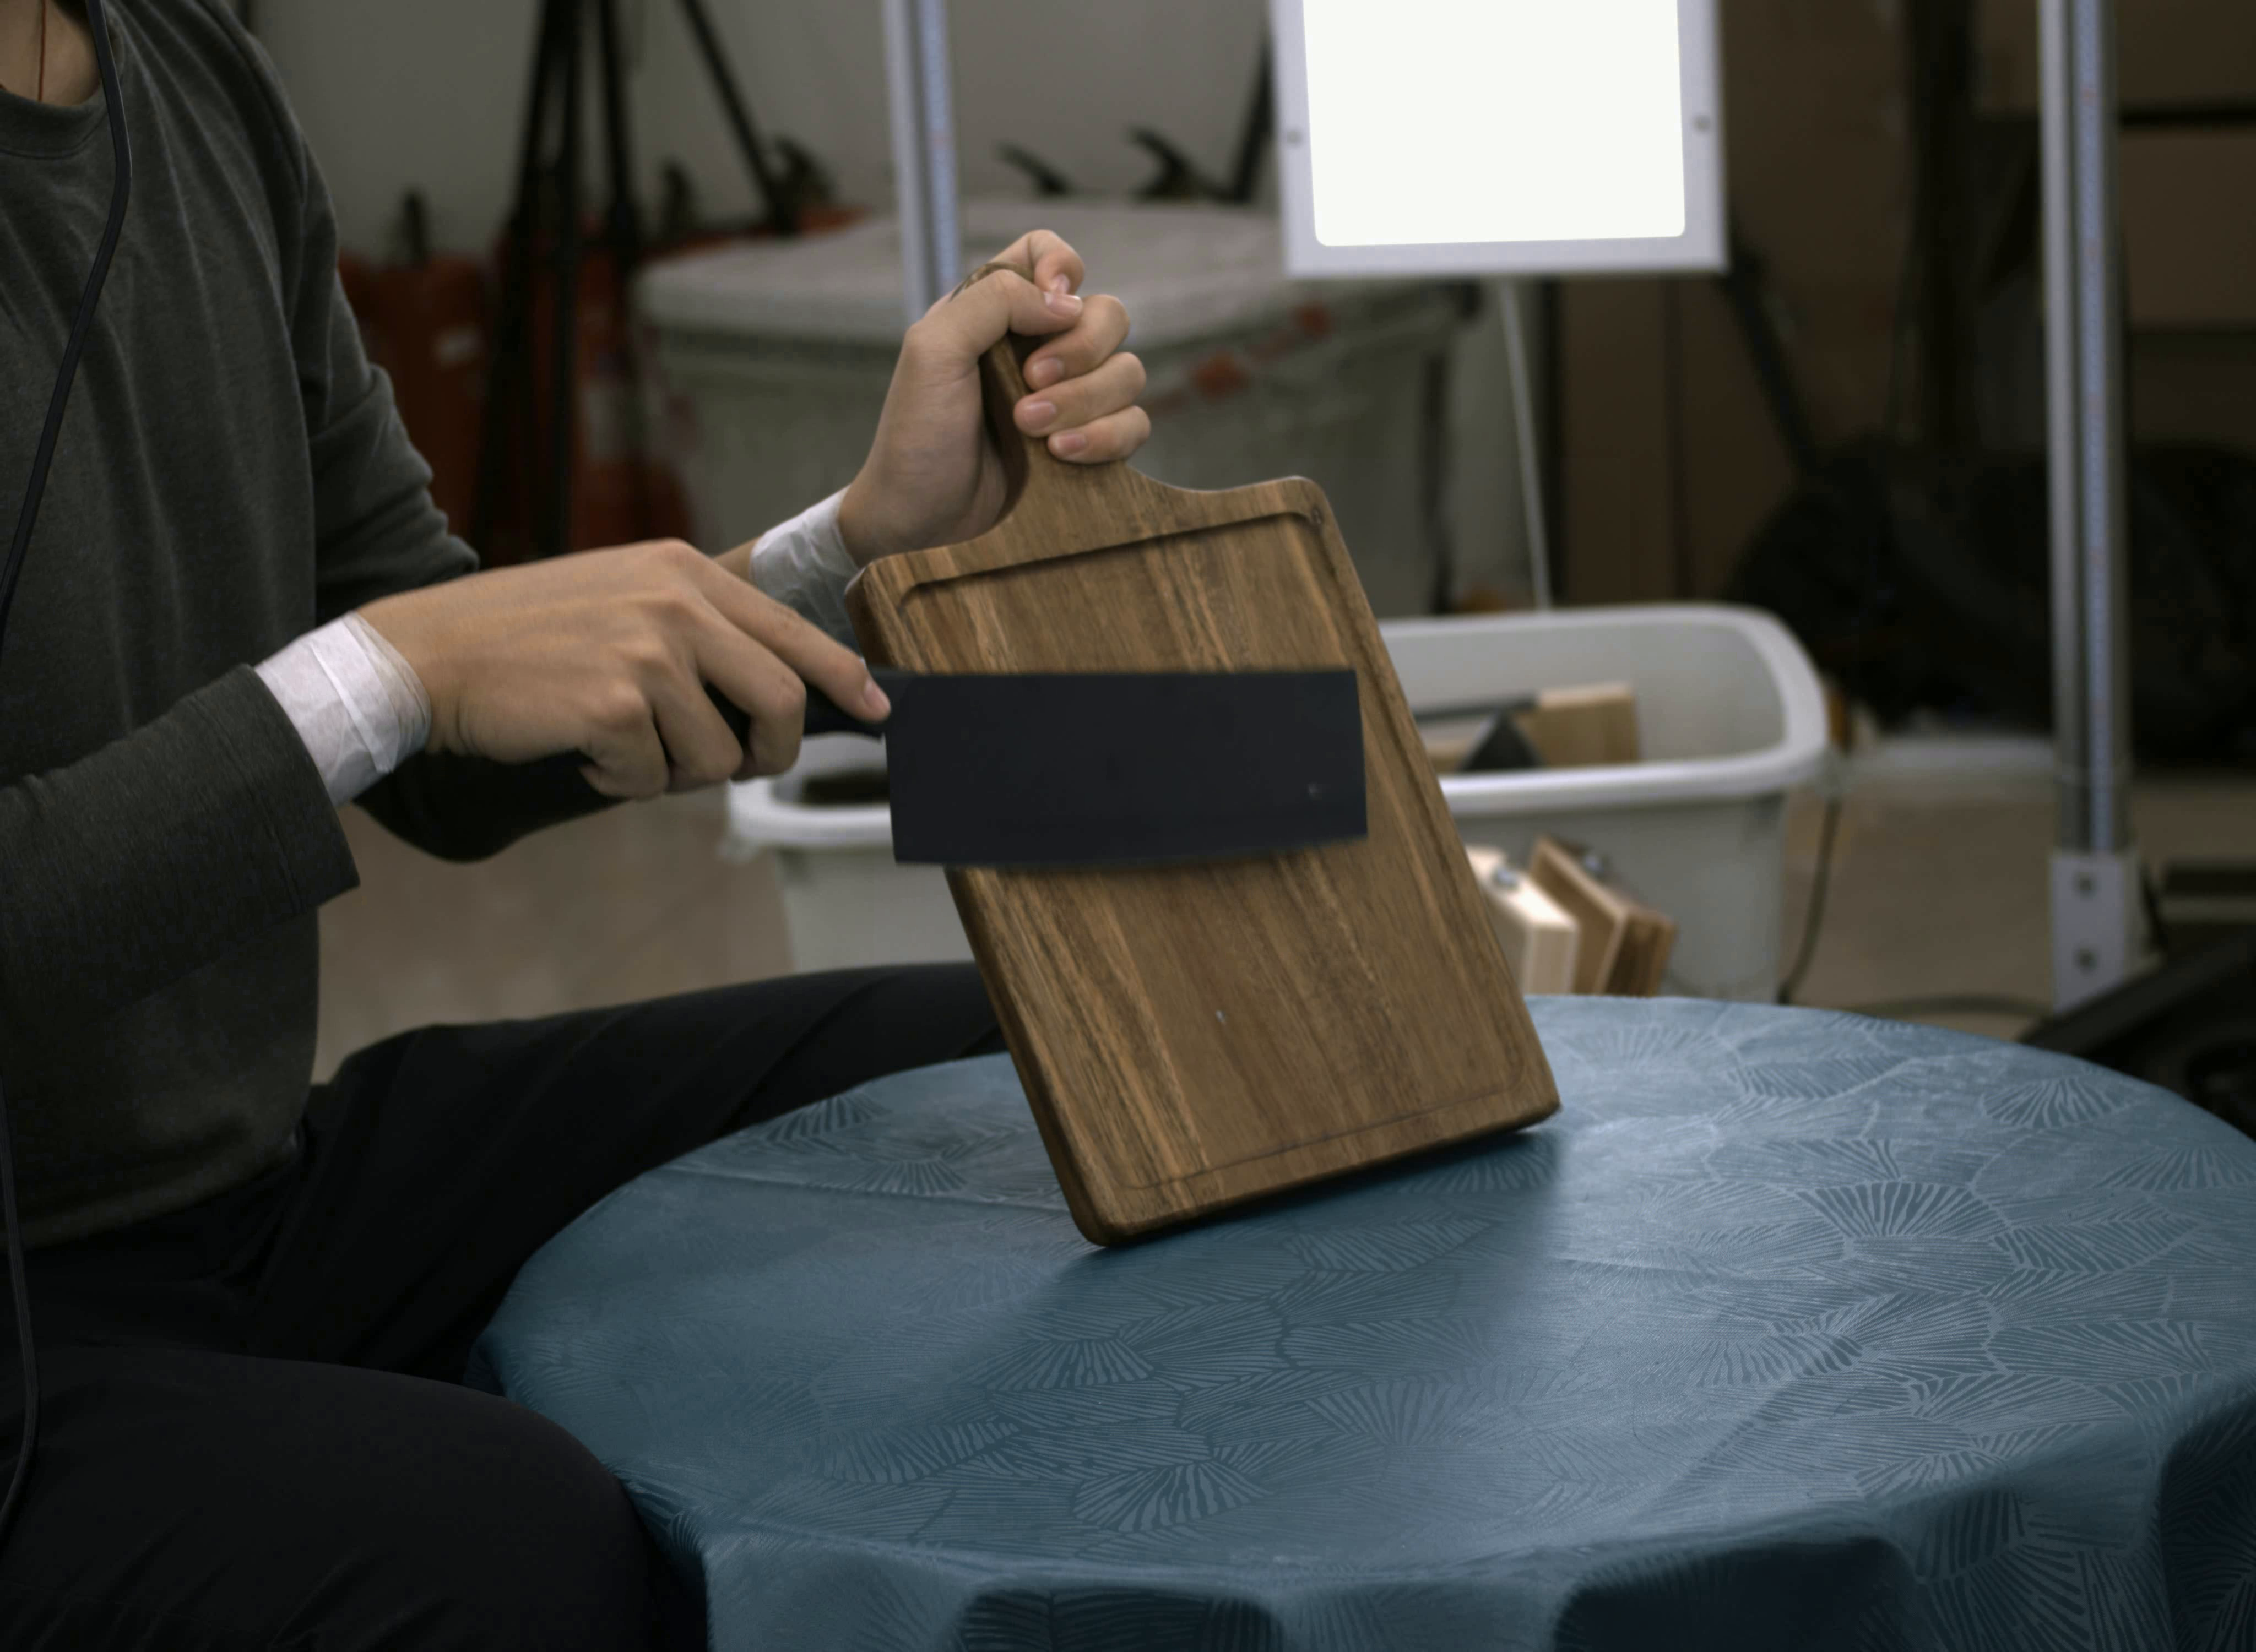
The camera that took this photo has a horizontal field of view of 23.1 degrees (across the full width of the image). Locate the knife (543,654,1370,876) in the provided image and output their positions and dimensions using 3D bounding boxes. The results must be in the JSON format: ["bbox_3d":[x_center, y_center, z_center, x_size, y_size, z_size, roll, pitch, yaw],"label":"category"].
[{"bbox_3d":[-0.052,-0.022,1.859,0.296,0.081,0.021,4,-8,-22],"label":"knife"}]

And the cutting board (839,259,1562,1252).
[{"bbox_3d":[0.010,-0.038,1.920,0.196,0.353,0.023,-14,-15,-30],"label":"cutting board"}]
